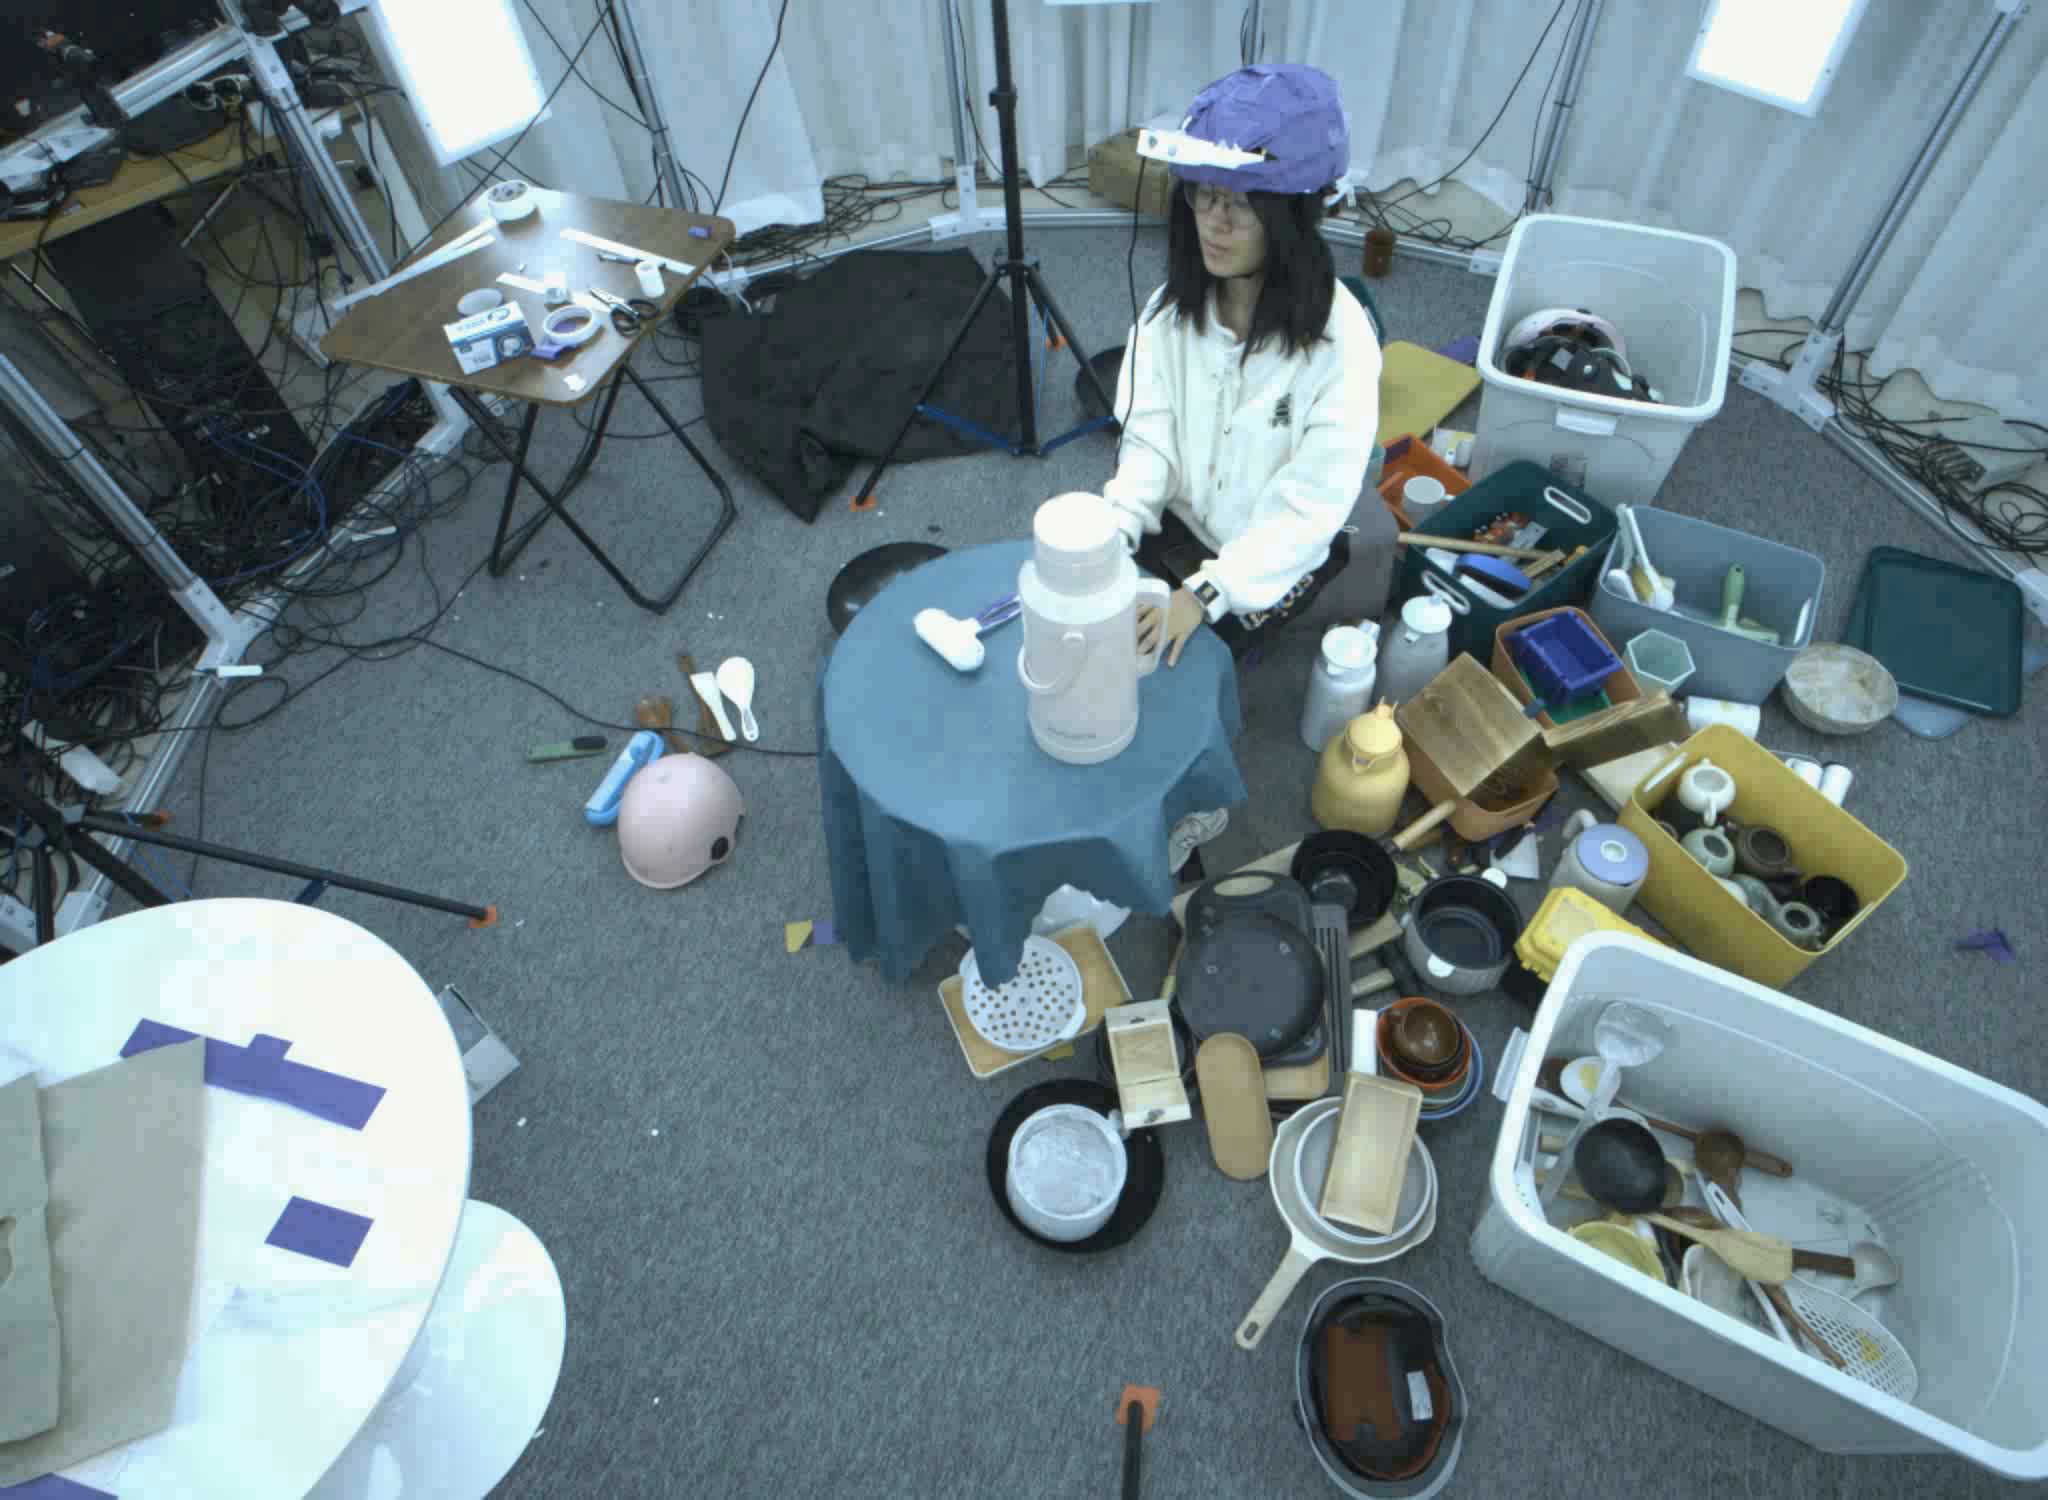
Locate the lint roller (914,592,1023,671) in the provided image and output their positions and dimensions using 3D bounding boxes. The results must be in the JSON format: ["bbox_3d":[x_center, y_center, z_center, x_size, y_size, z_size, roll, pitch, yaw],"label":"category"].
[{"bbox_3d":[-0.068,-0.204,1.905,0.182,0.051,0.130,-36,60,-18],"label":"lint roller"}]

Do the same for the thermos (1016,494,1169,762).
[{"bbox_3d":[0.088,-0.158,1.653,0.206,0.411,0.174,2,54,5],"label":"thermos"}]
